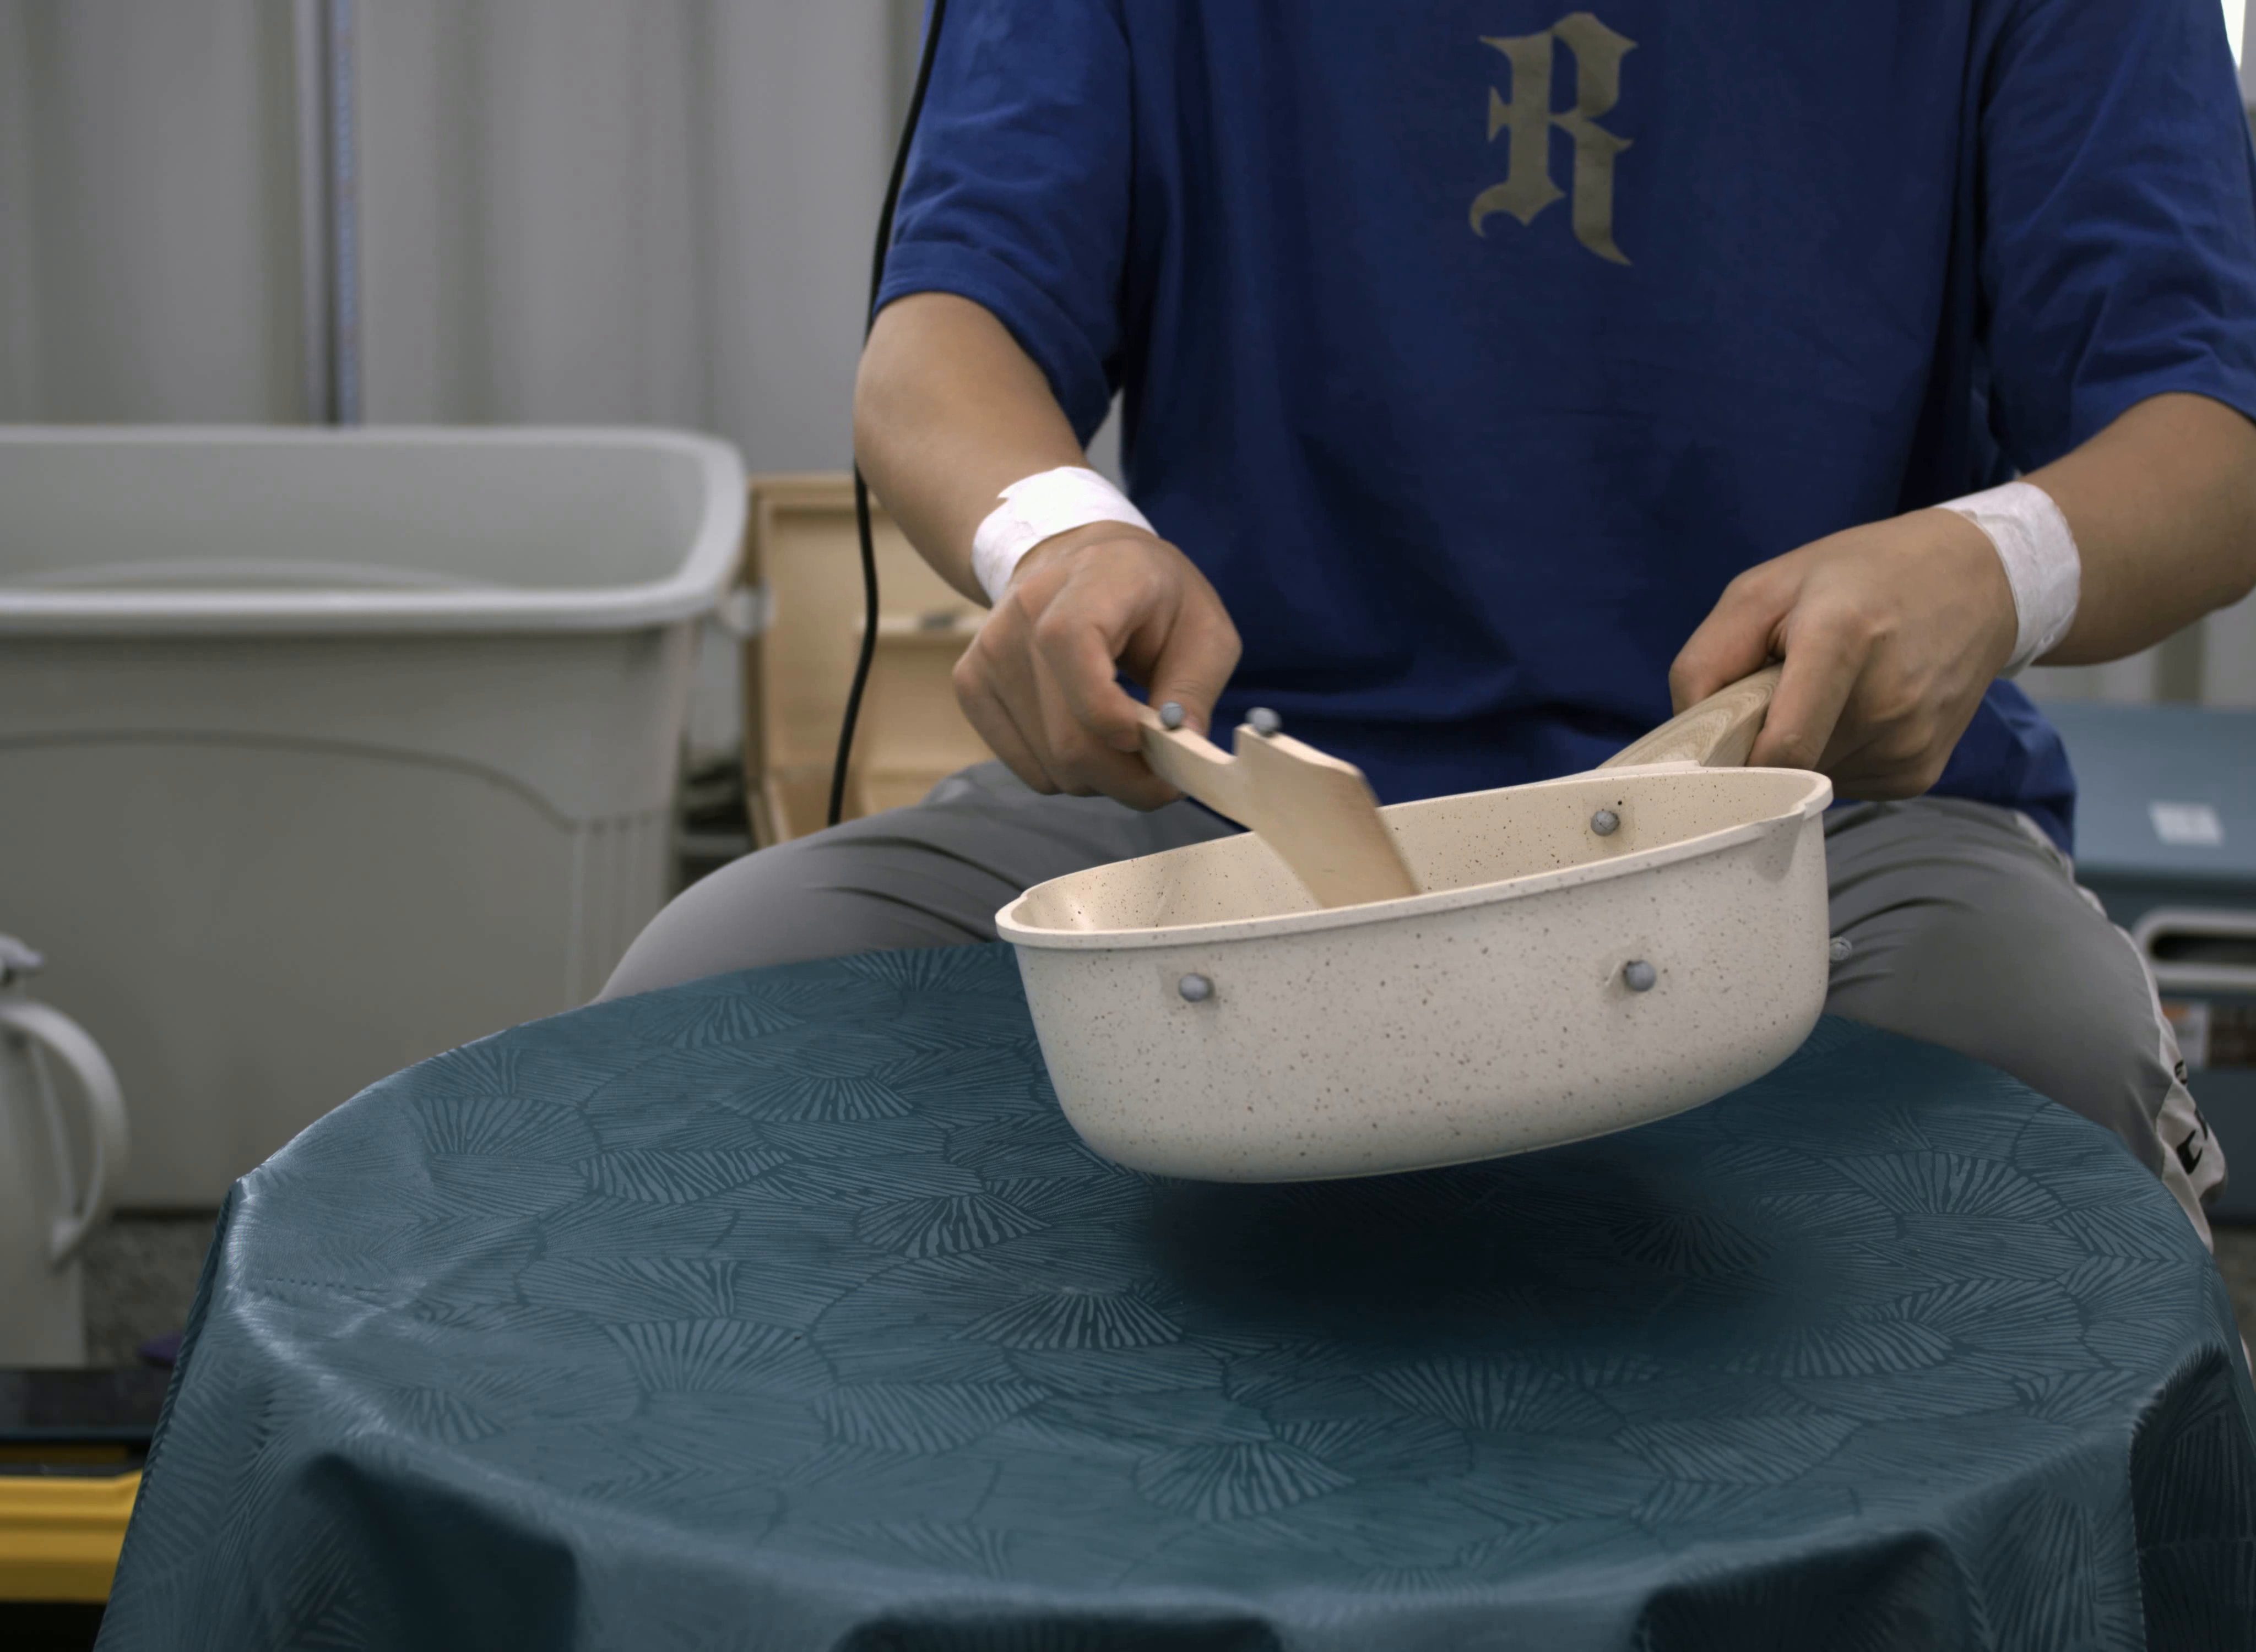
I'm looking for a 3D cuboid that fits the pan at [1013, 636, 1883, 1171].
[{"bbox_3d":[0.143,0.020,1.637,0.261,0.102,0.437,-7,5,34],"label":"pan"}]

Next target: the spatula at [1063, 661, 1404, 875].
[{"bbox_3d":[0.030,-0.016,1.641,0.010,0.073,0.290,-31,21,-11],"label":"spatula"}]
